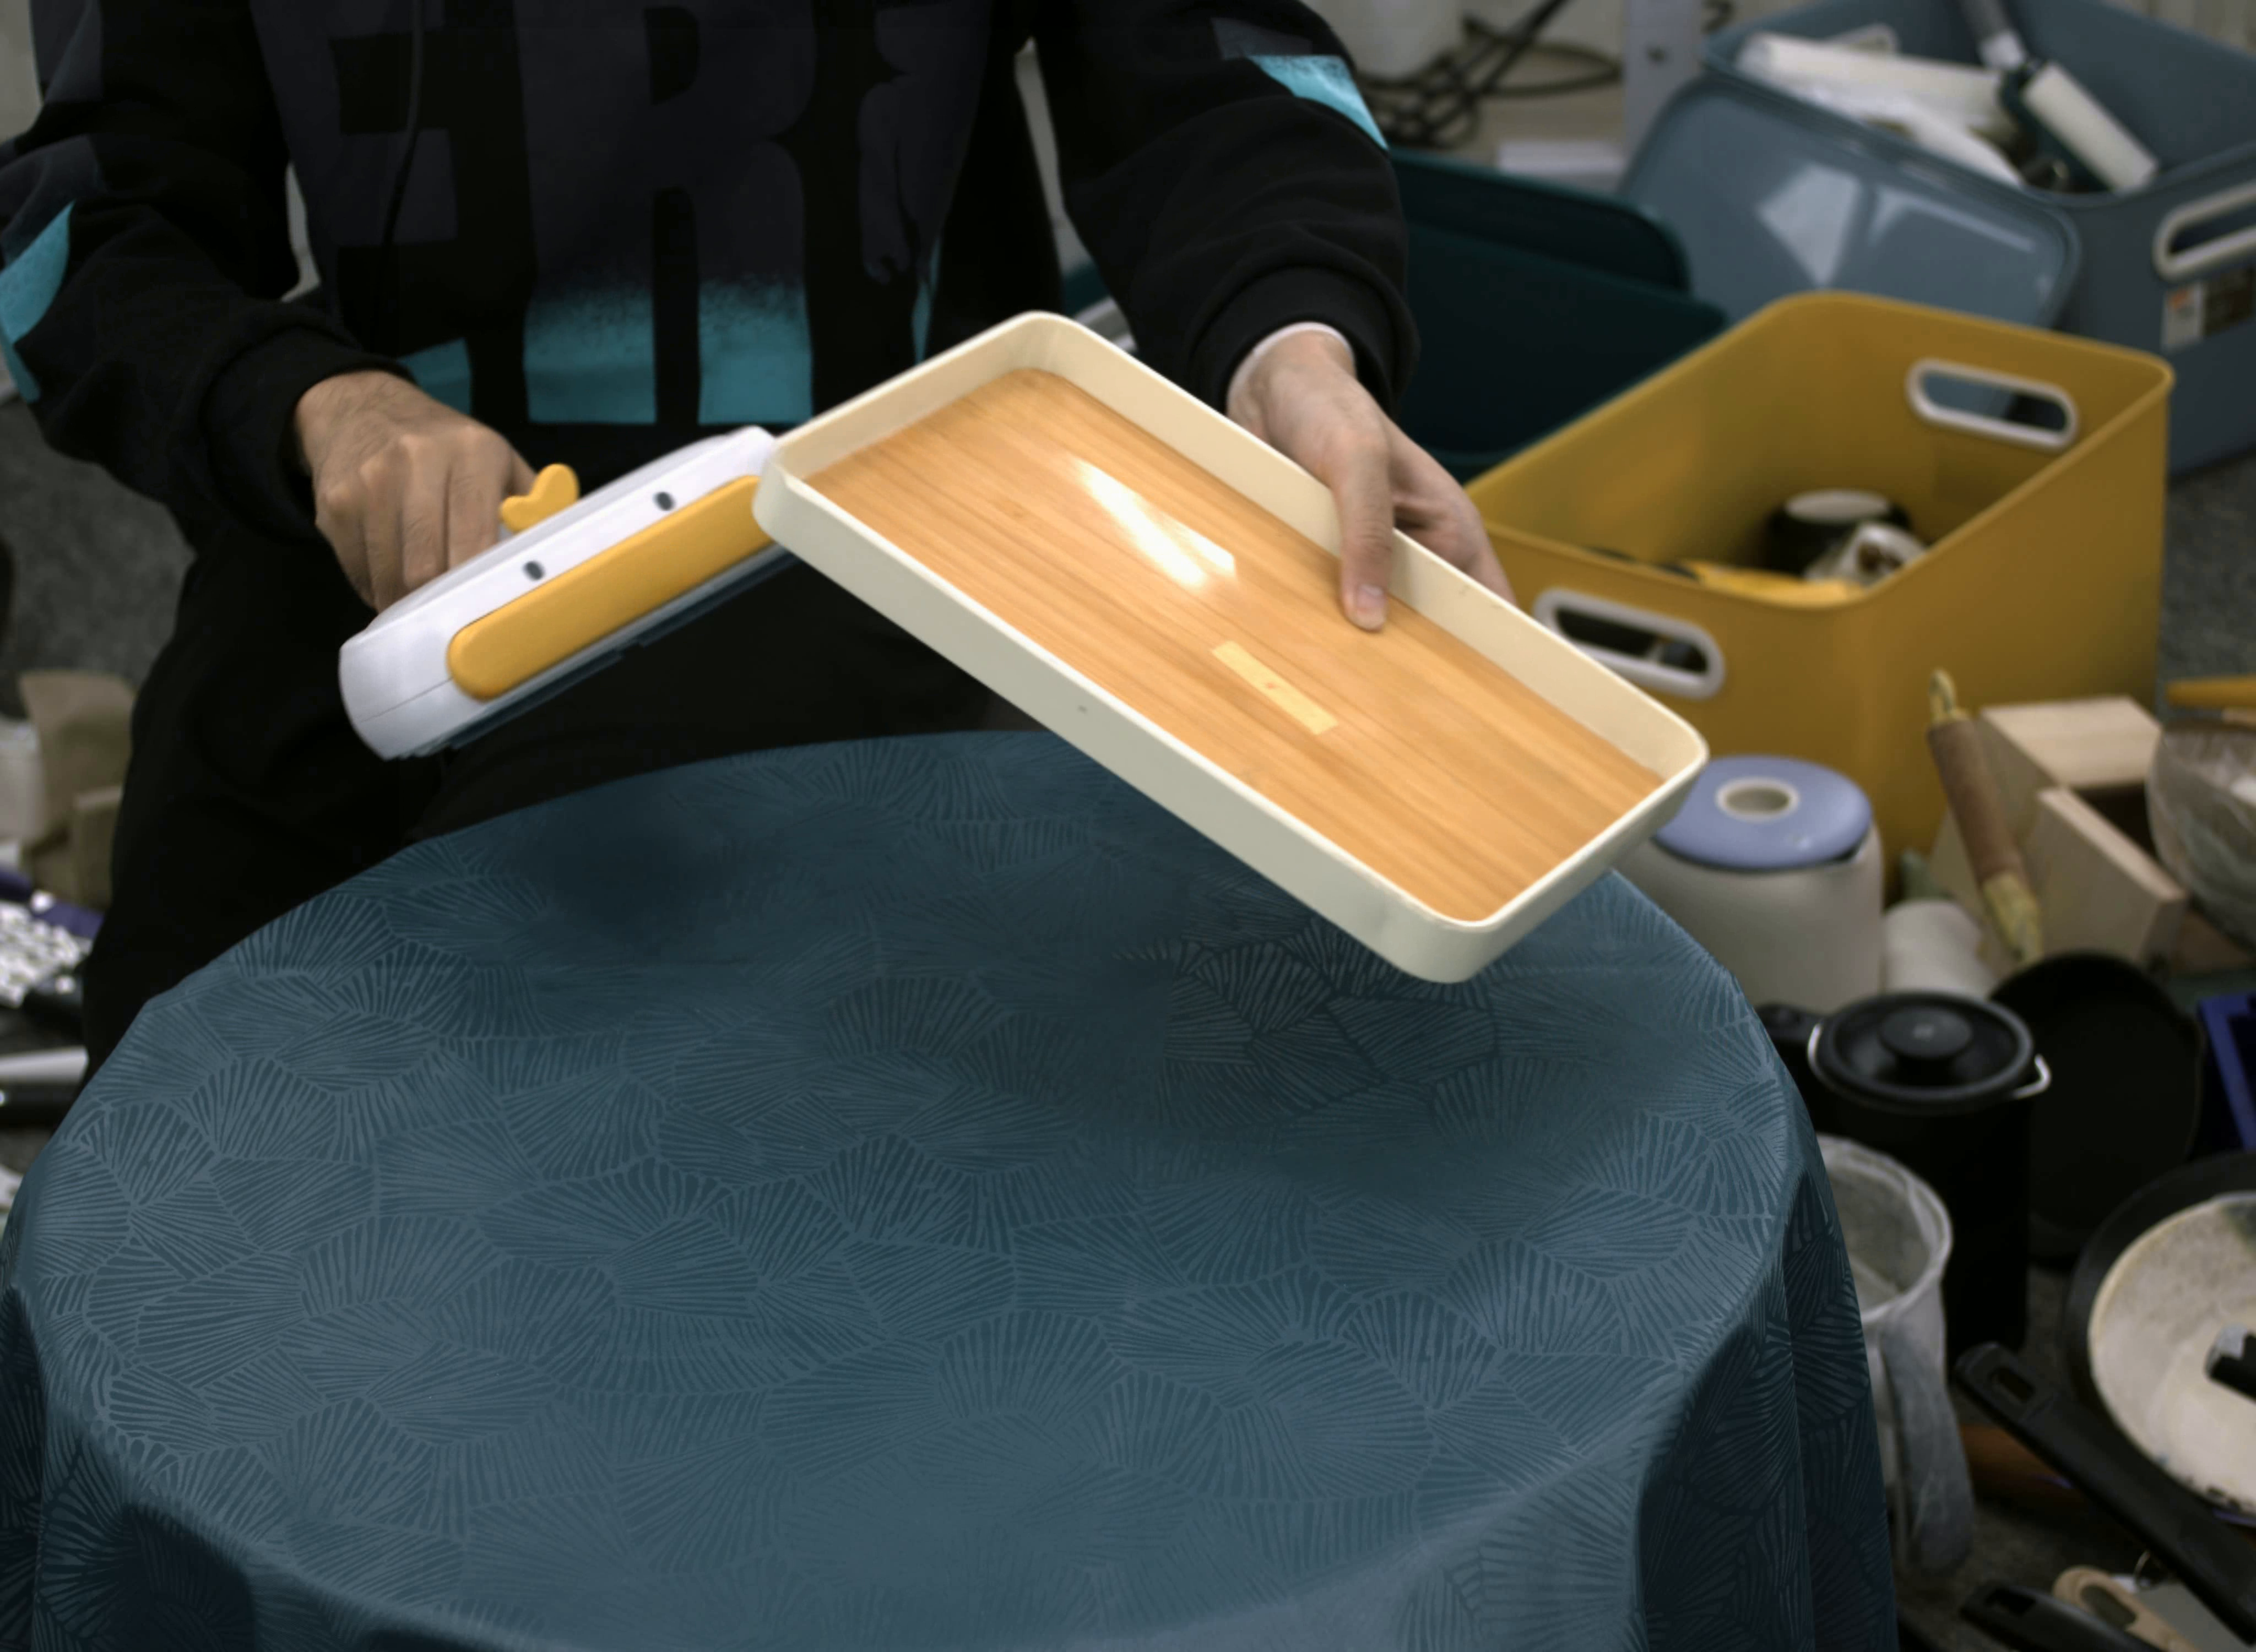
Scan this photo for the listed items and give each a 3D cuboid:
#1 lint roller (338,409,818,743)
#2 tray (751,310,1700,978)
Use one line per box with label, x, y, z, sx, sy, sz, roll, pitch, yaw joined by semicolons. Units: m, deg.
lint roller;-0.225;-0.095;2.063;0.195;0.074;0.191;-36;20;-31
tray;0.034;-0.067;1.913;0.300;0.027;0.194;35;34;17
